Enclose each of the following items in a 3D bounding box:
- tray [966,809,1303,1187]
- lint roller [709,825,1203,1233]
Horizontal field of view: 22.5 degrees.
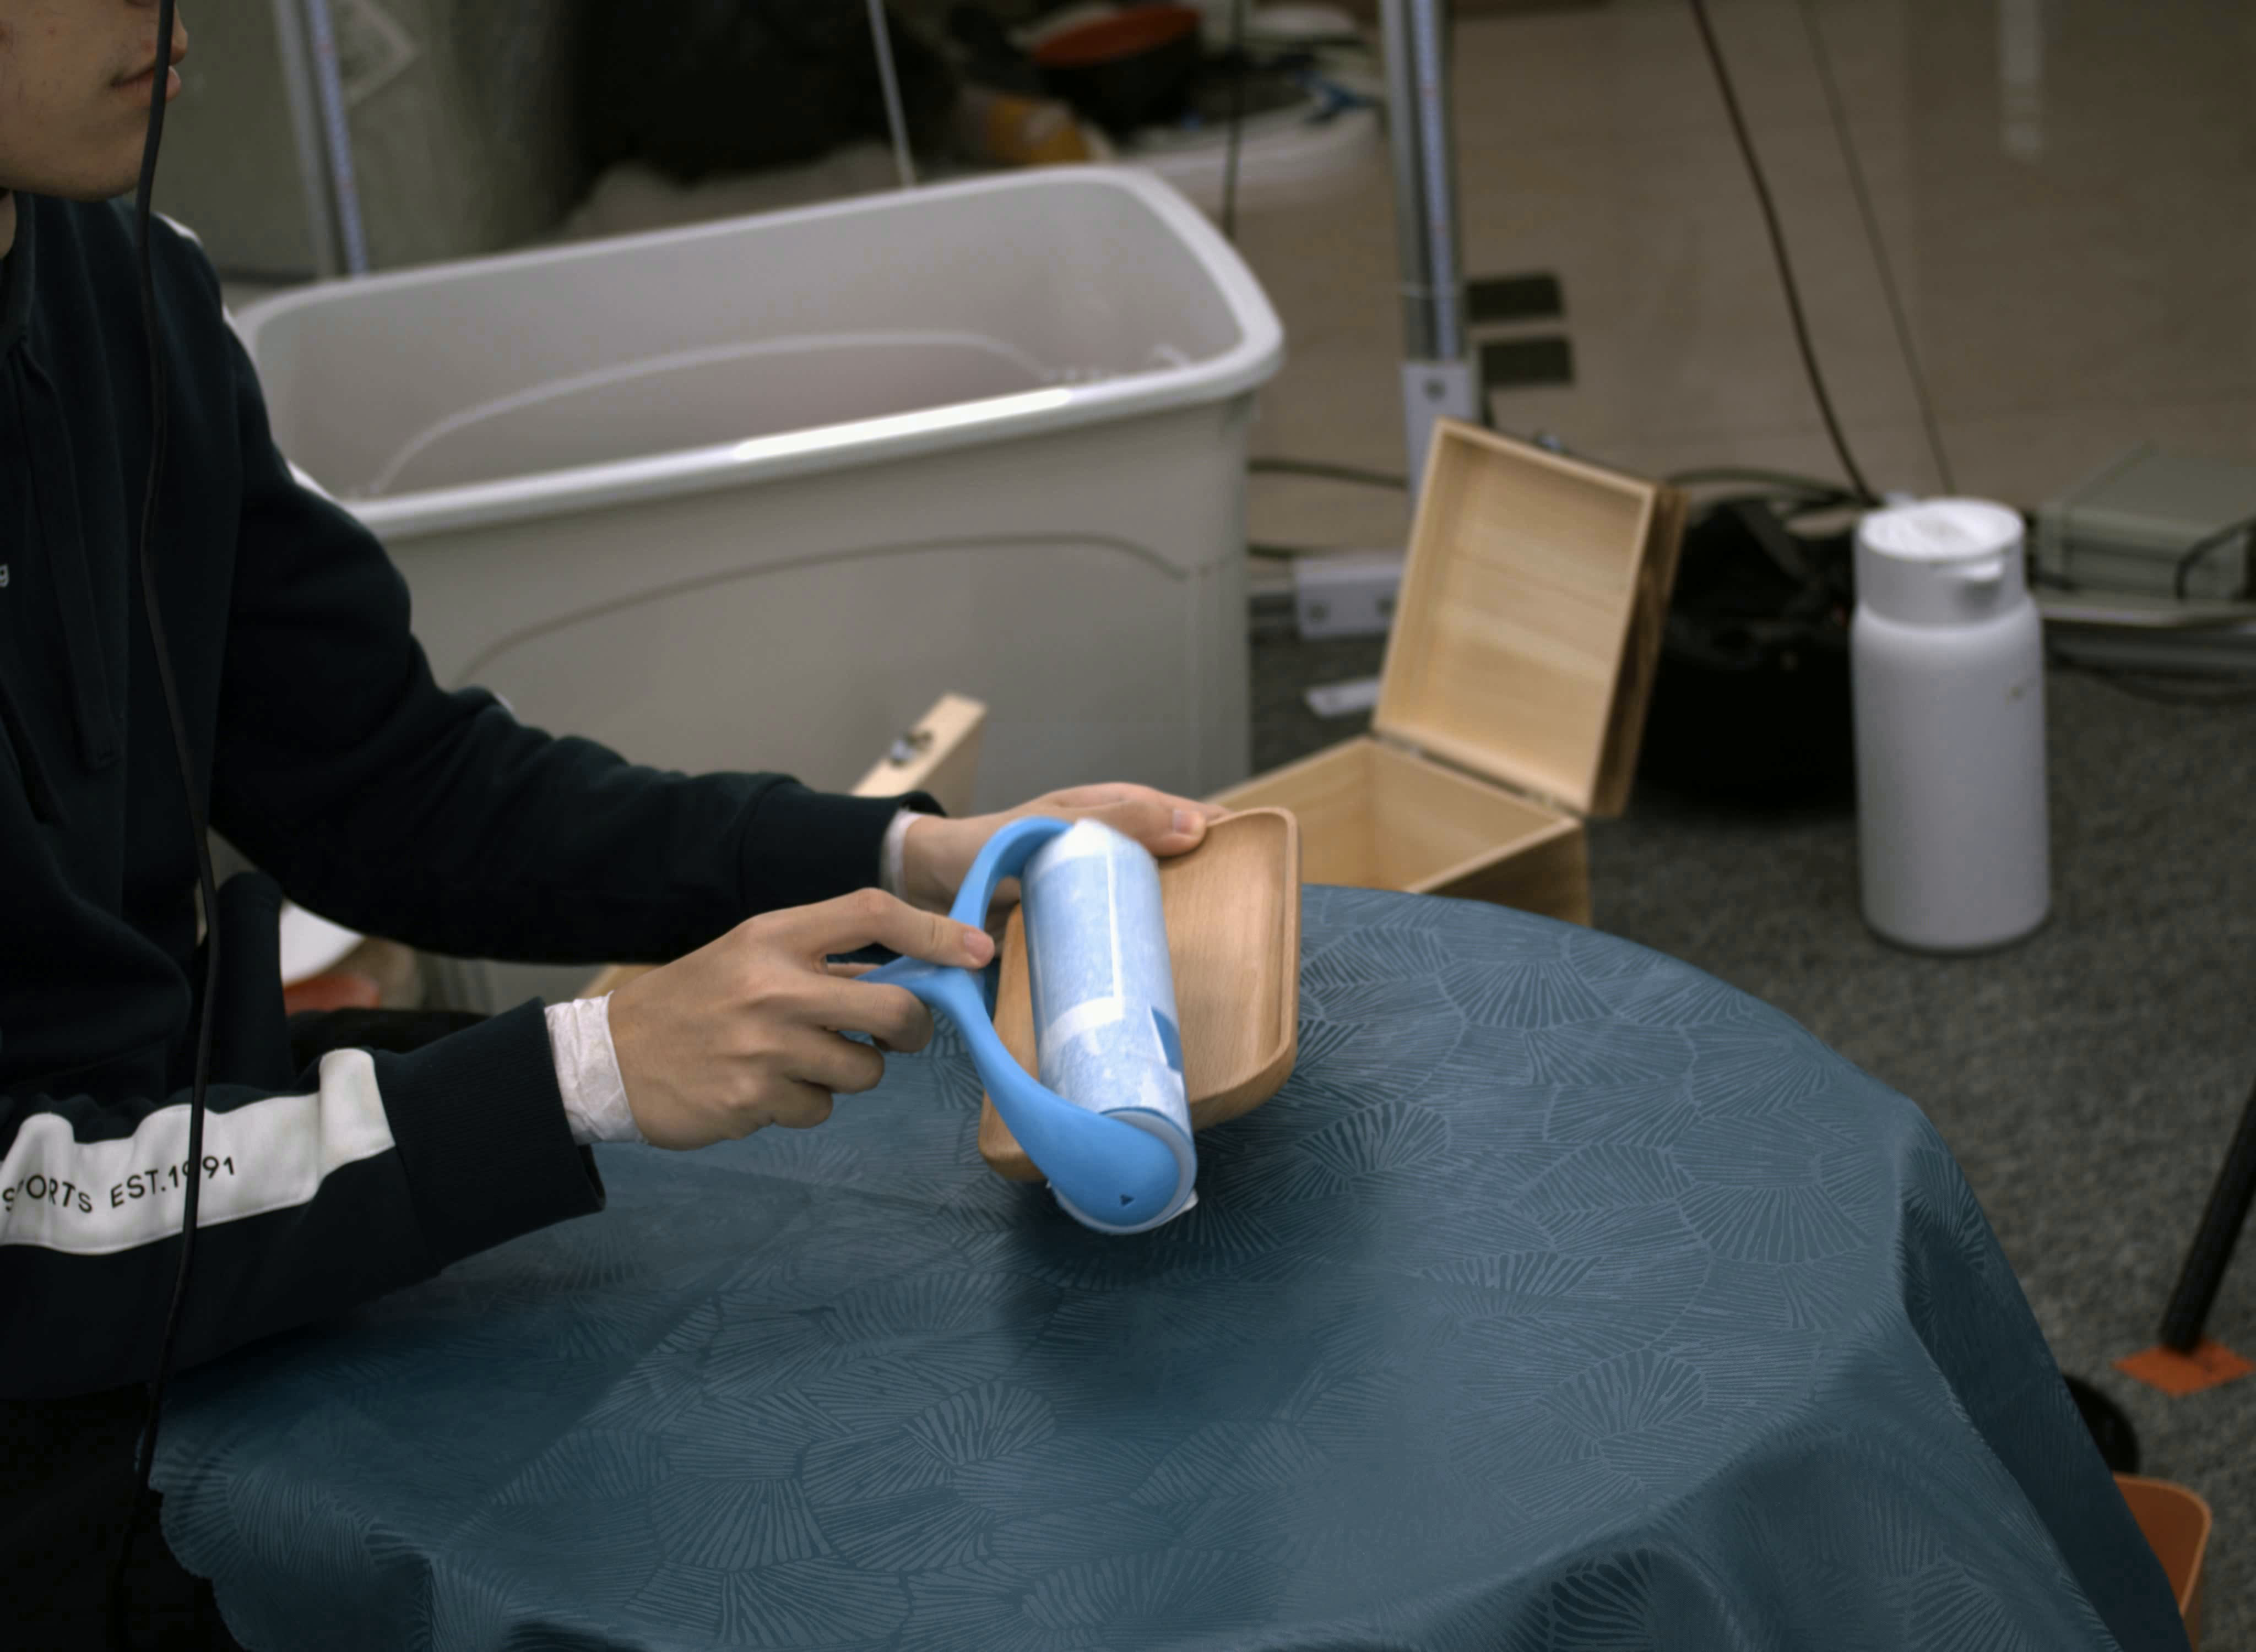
[{"bbox_3d":[0.006,0.065,2.196,0.131,0.023,0.247,-21,23,13],"label":"tray"},{"bbox_3d":[-0.066,0.078,2.081,0.180,0.069,0.225,-5,33,-4],"label":"lint roller"}]
